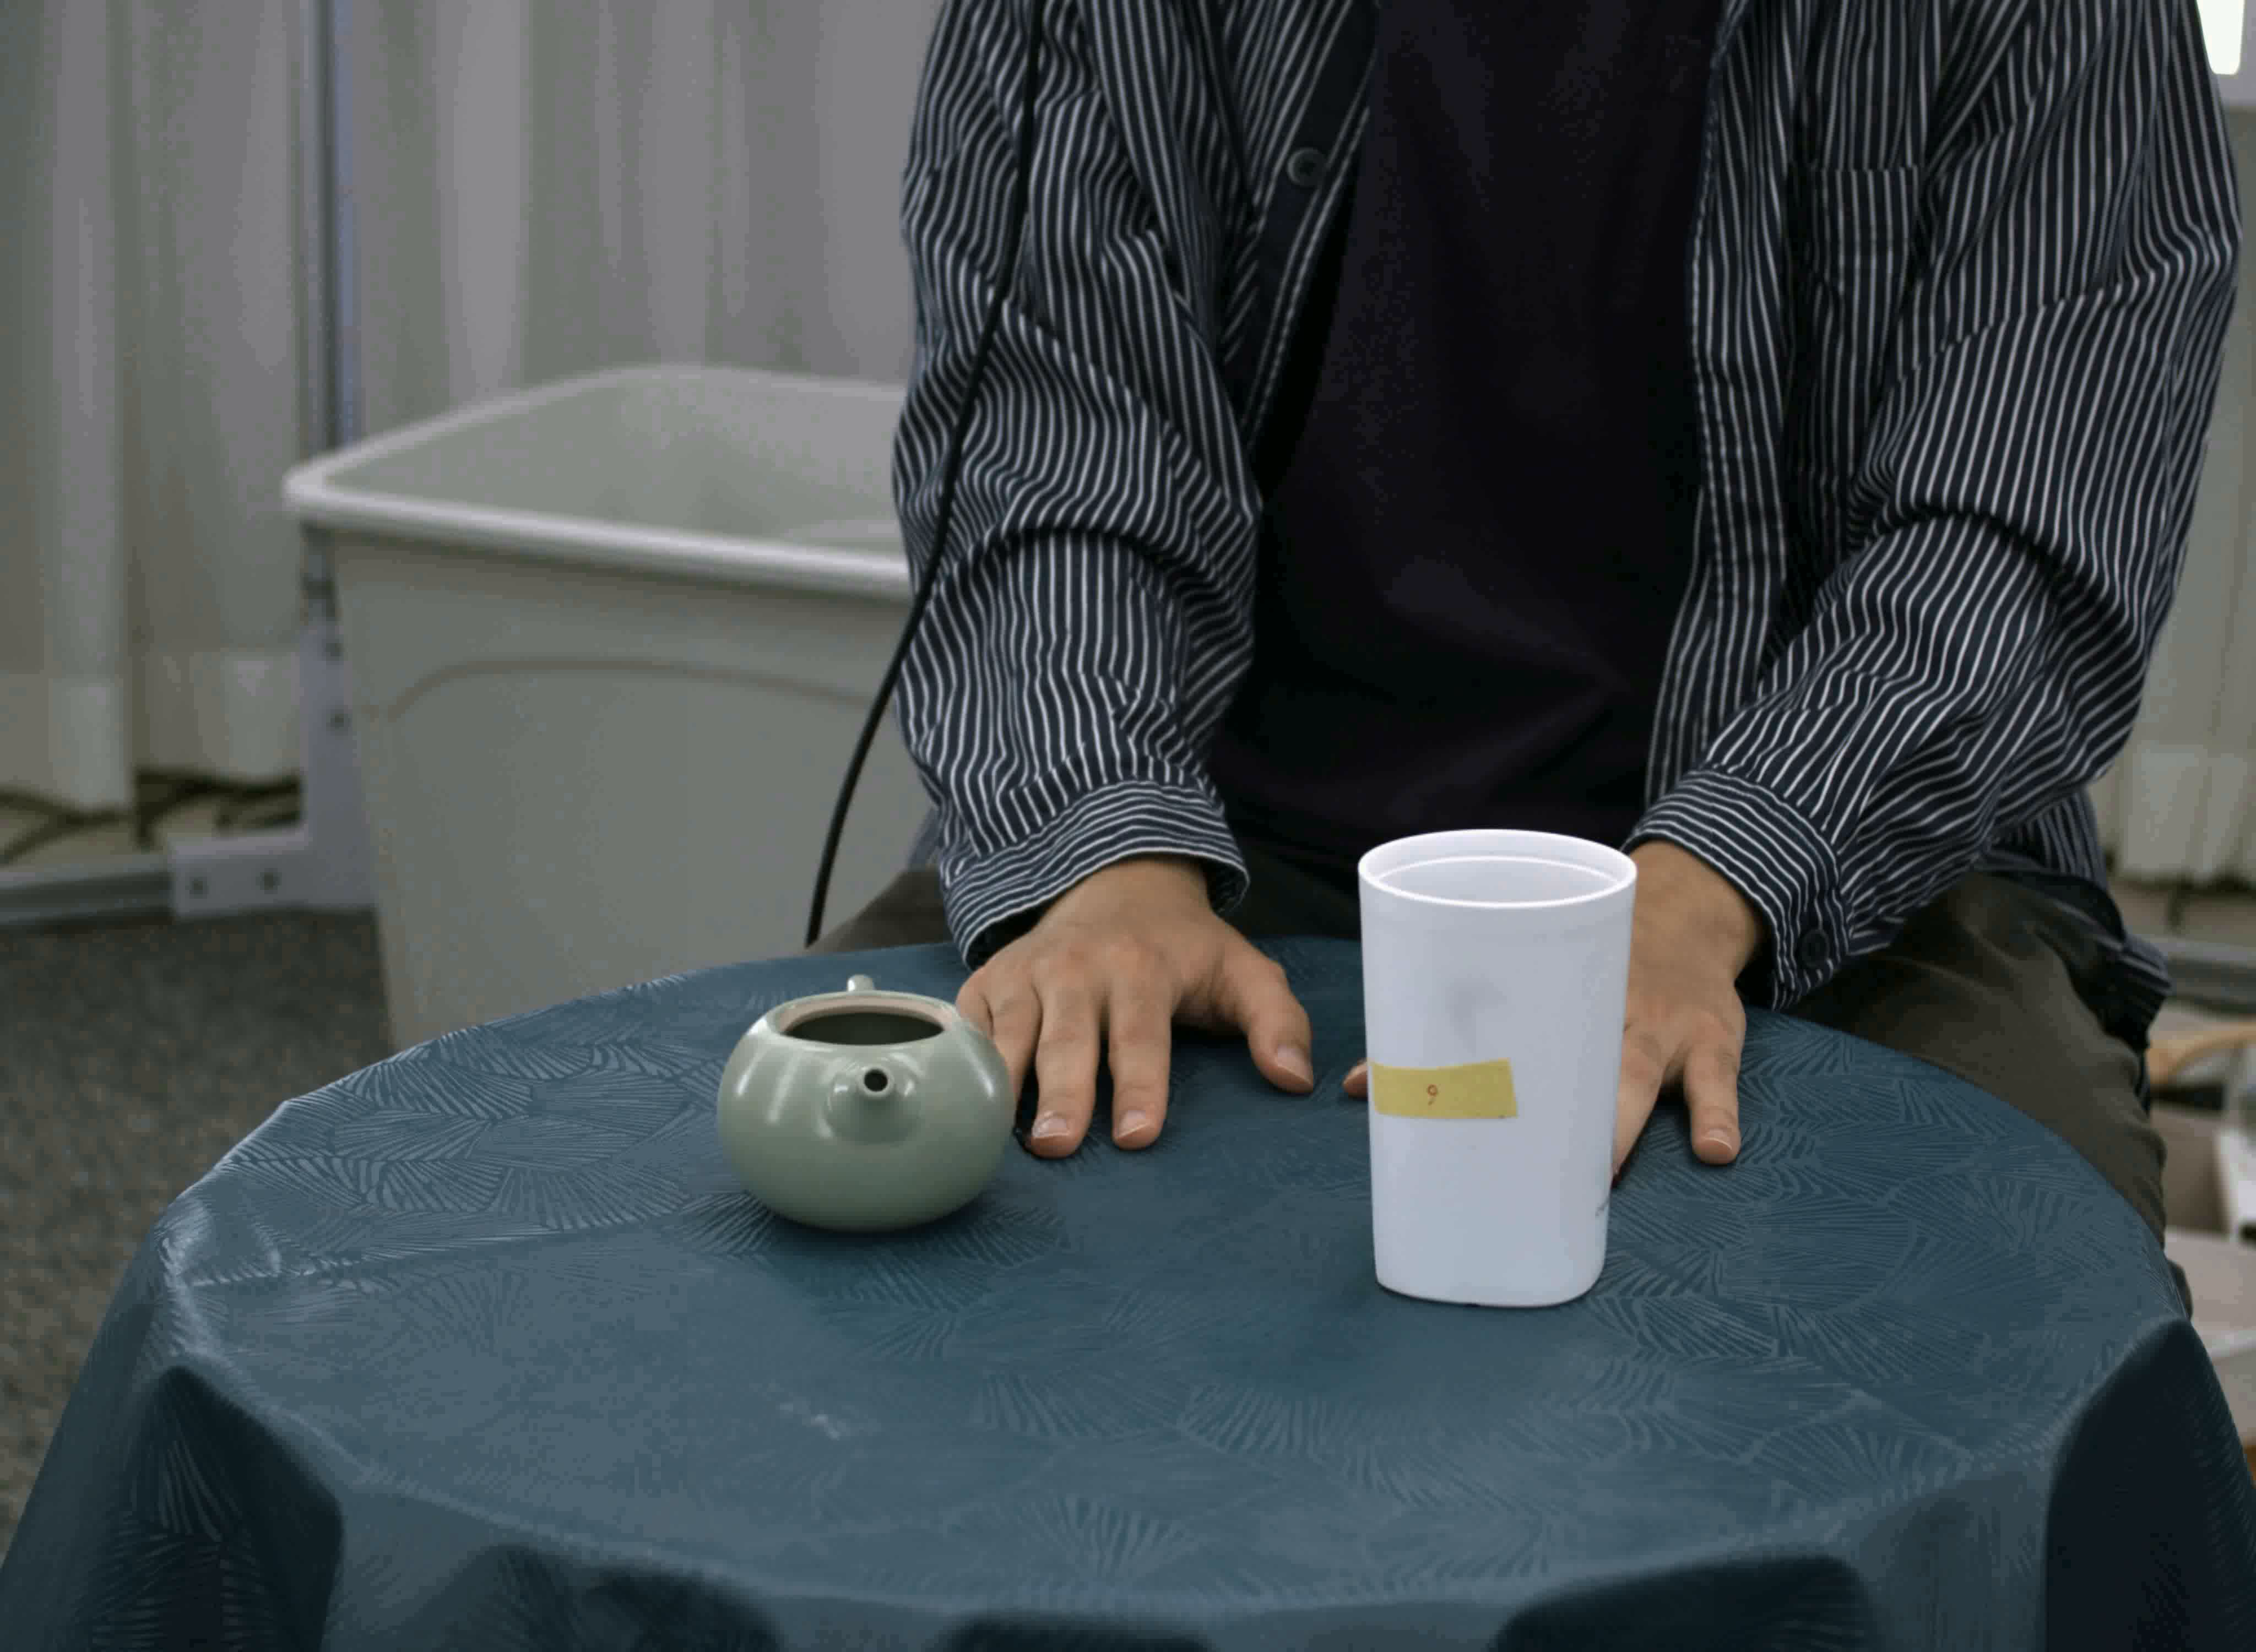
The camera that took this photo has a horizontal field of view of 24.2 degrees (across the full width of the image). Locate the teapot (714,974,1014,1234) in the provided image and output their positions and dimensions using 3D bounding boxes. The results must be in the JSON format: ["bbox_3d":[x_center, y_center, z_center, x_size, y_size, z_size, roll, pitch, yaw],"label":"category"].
[{"bbox_3d":[-0.081,0.085,1.616,0.091,0.061,0.128,-2,15,-1],"label":"teapot"}]

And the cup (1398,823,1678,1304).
[{"bbox_3d":[0.119,0.070,1.540,0.081,0.126,0.081,0,16,0],"label":"cup"}]
